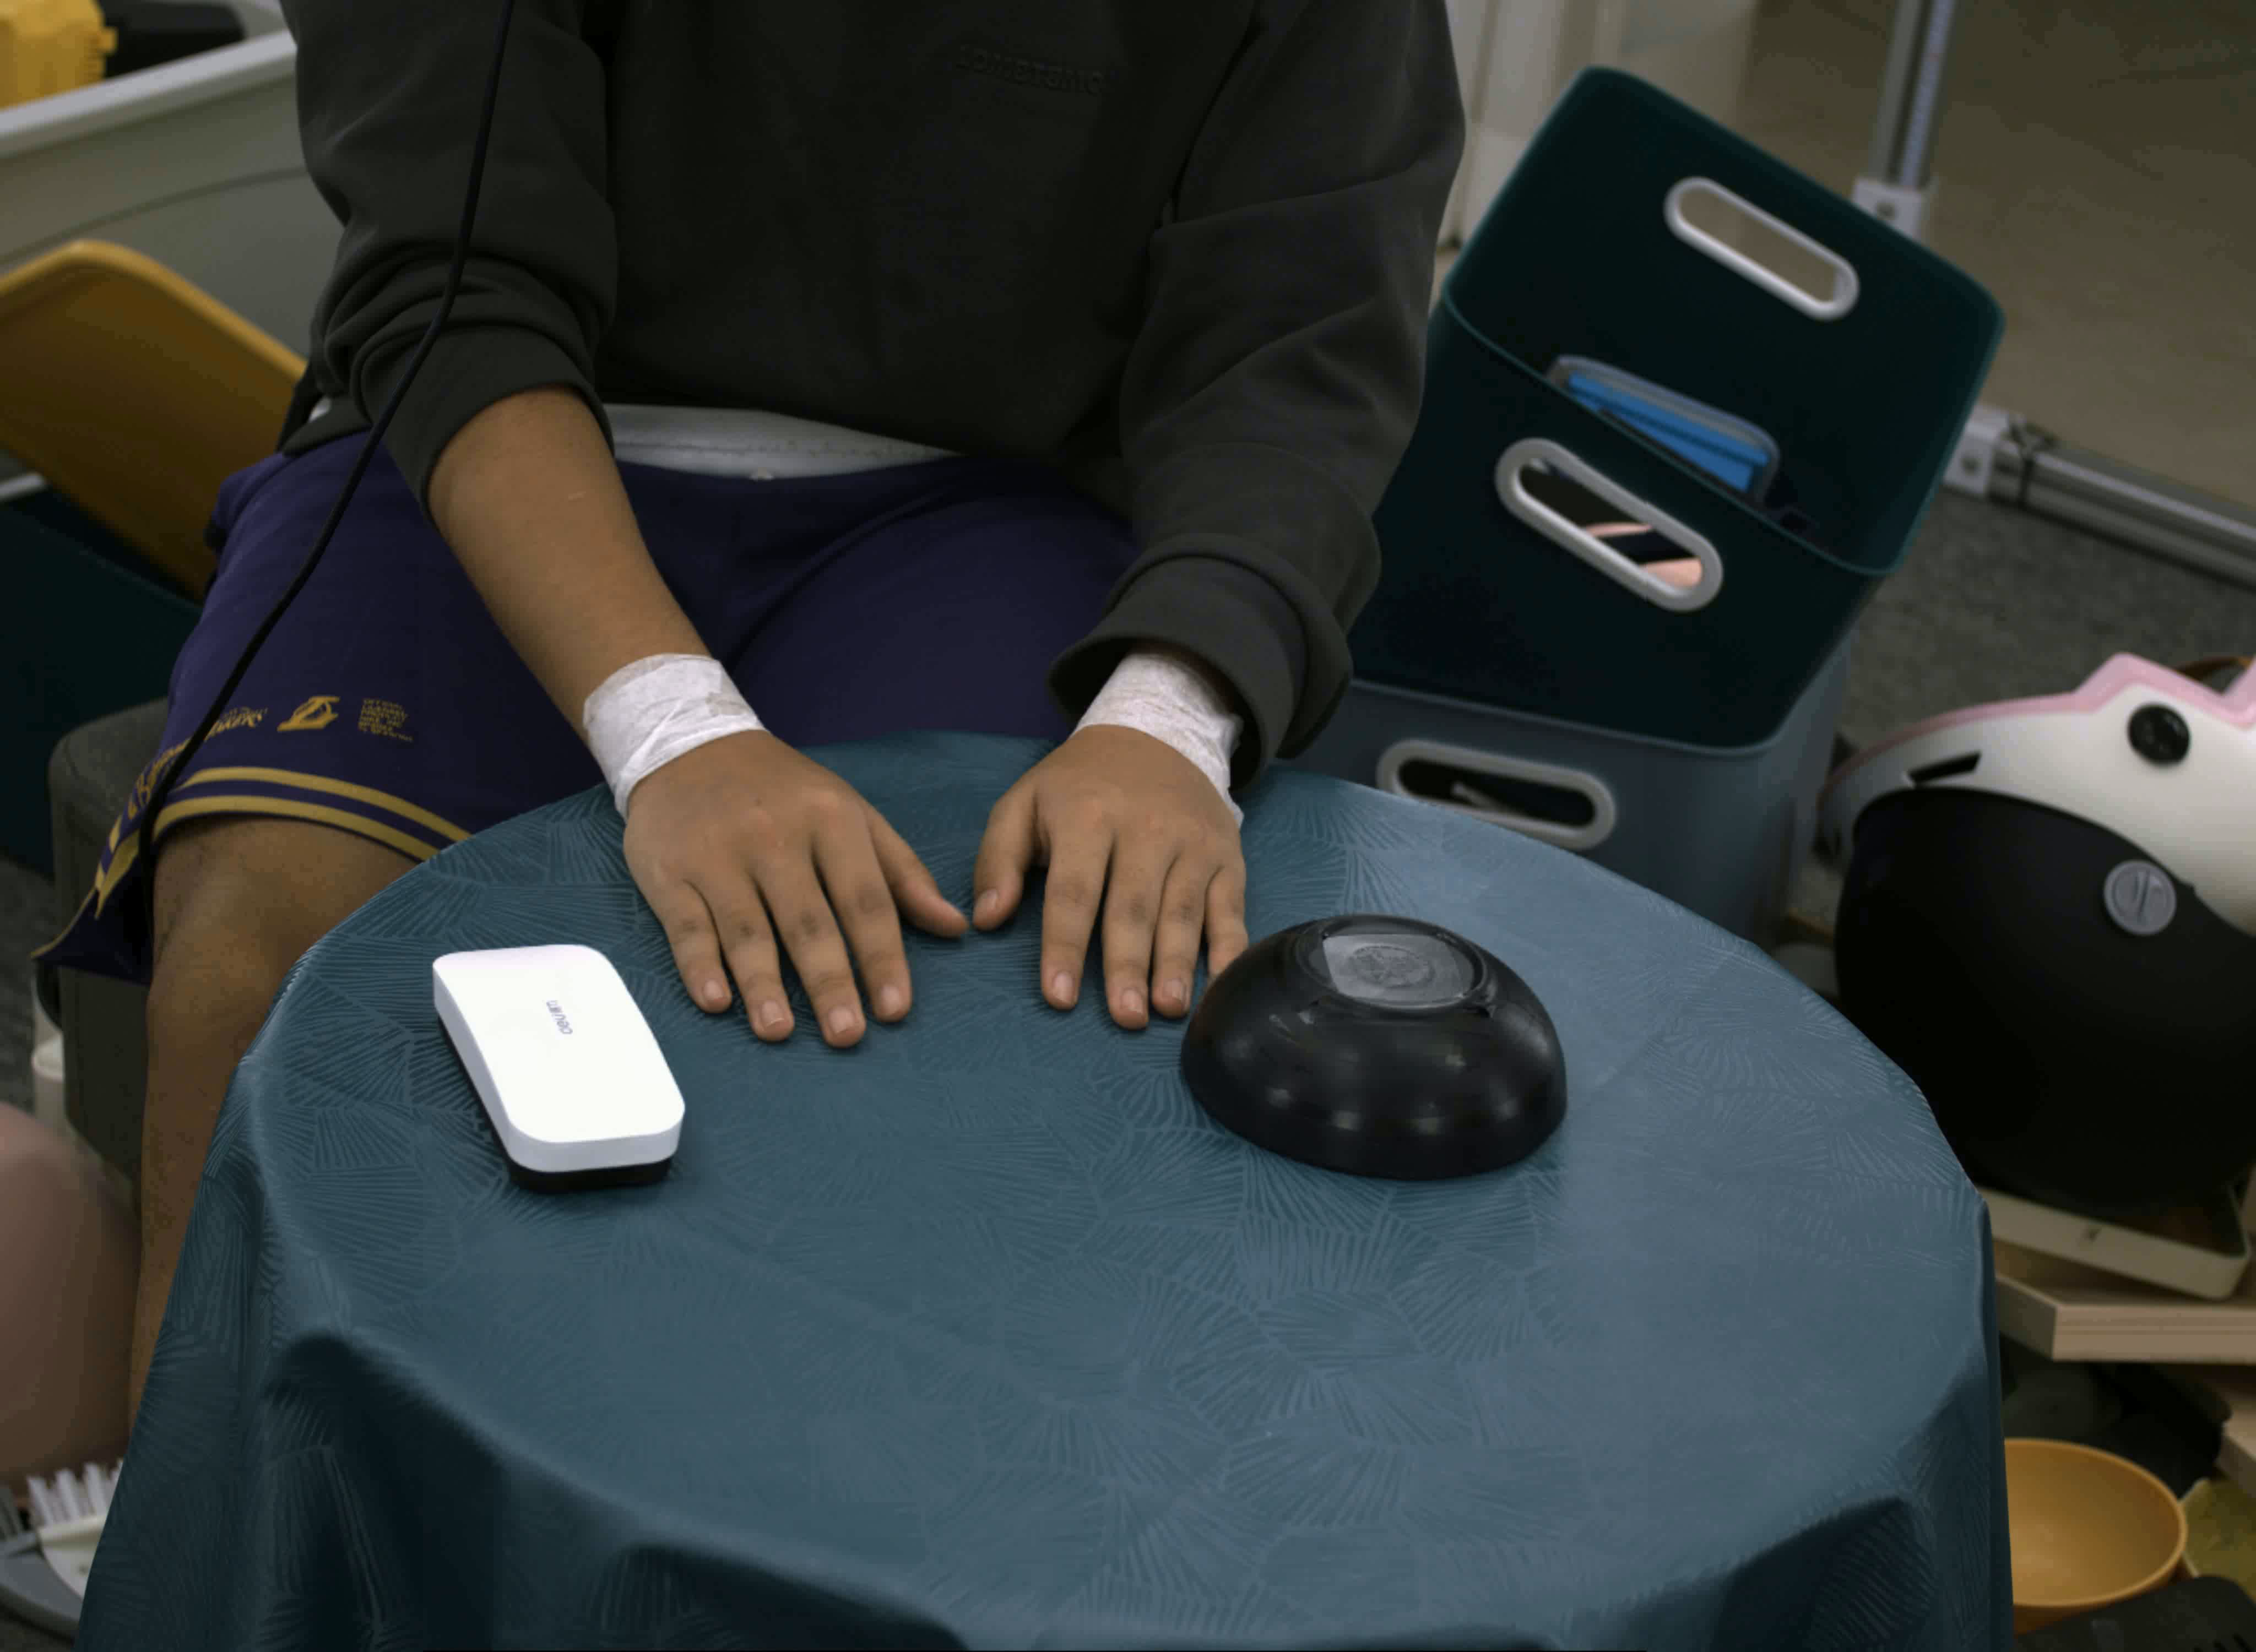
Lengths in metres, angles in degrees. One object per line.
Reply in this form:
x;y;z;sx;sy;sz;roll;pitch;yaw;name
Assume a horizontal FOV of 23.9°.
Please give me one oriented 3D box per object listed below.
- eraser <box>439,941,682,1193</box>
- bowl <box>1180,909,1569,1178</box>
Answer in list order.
-0.194;0.078;1.812;0.063;0.034;0.132;-2;30;-19;eraser
0.089;0.067;1.875;0.139;0.049;0.141;4;28;-3;bowl
